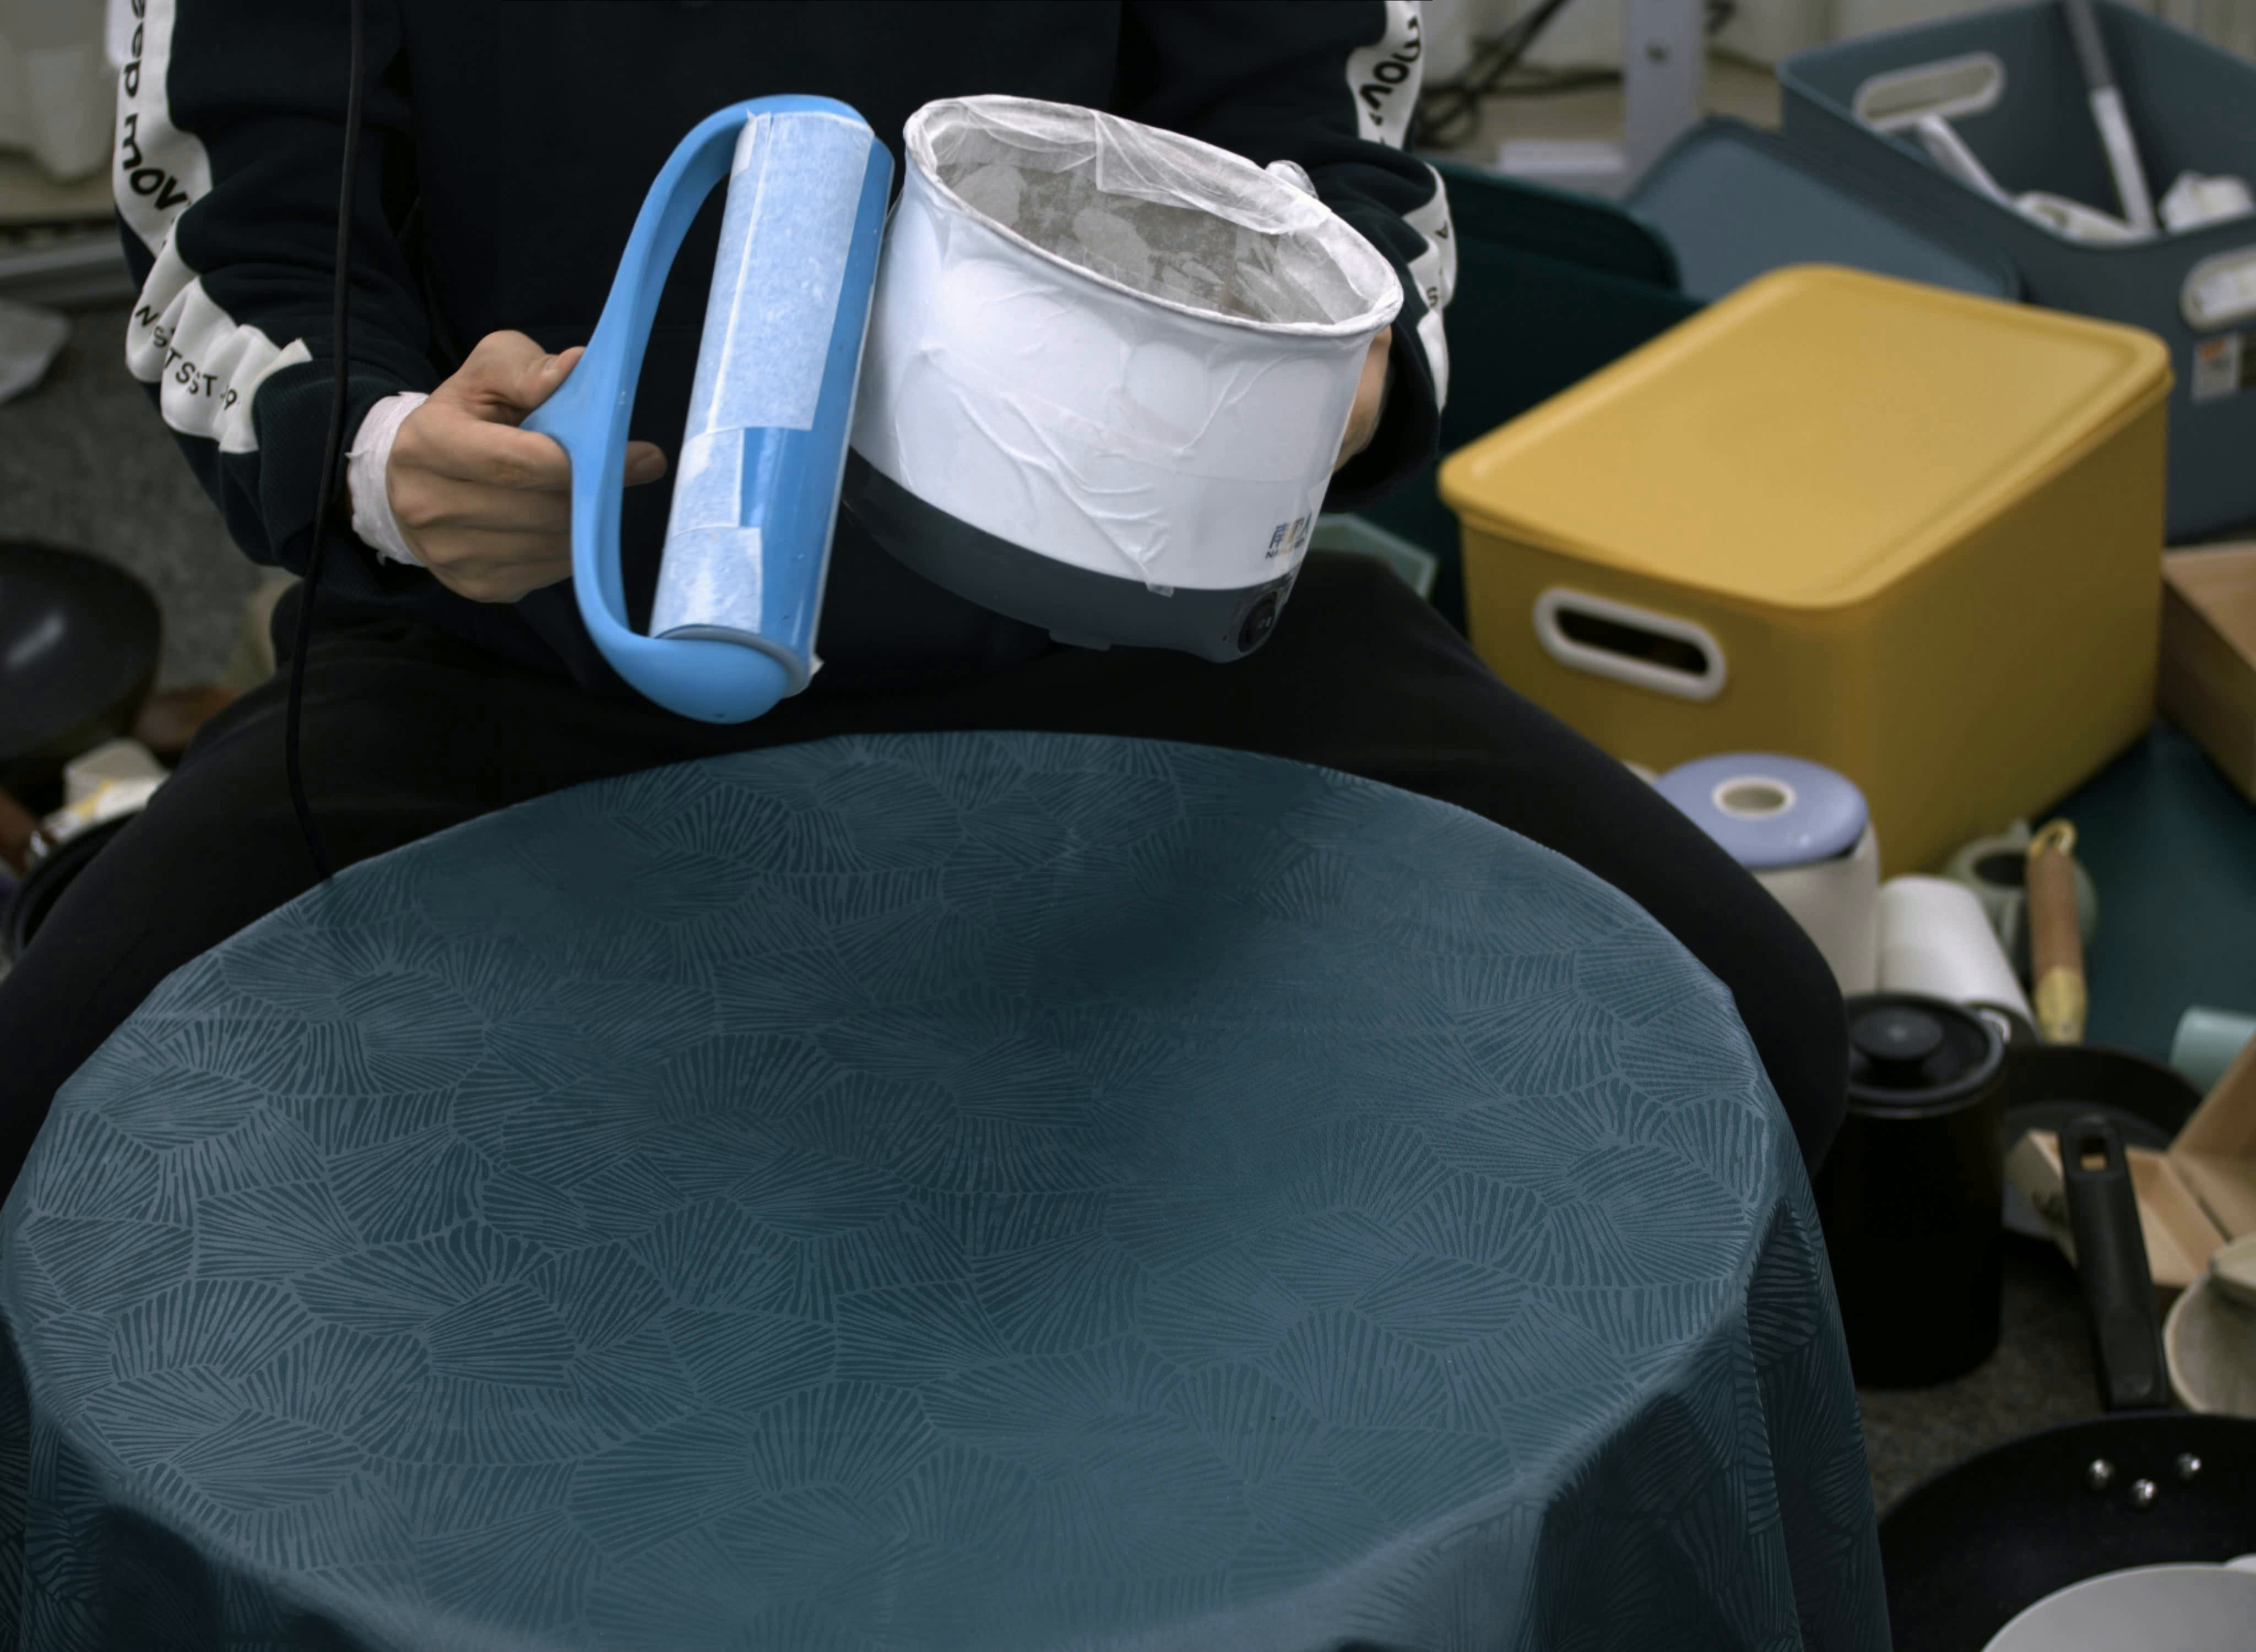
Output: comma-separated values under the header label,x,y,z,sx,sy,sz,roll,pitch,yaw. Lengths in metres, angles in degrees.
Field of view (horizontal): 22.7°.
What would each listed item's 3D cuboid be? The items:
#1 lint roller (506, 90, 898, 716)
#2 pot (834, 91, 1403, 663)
label,x,y,z,sx,sy,sz,roll,pitch,yaw
lint roller,-0.160,-0.127,1.878,0.178,0.067,0.233,-17,56,36
pot,0.002,-0.159,1.936,0.178,0.135,0.236,29,25,19
